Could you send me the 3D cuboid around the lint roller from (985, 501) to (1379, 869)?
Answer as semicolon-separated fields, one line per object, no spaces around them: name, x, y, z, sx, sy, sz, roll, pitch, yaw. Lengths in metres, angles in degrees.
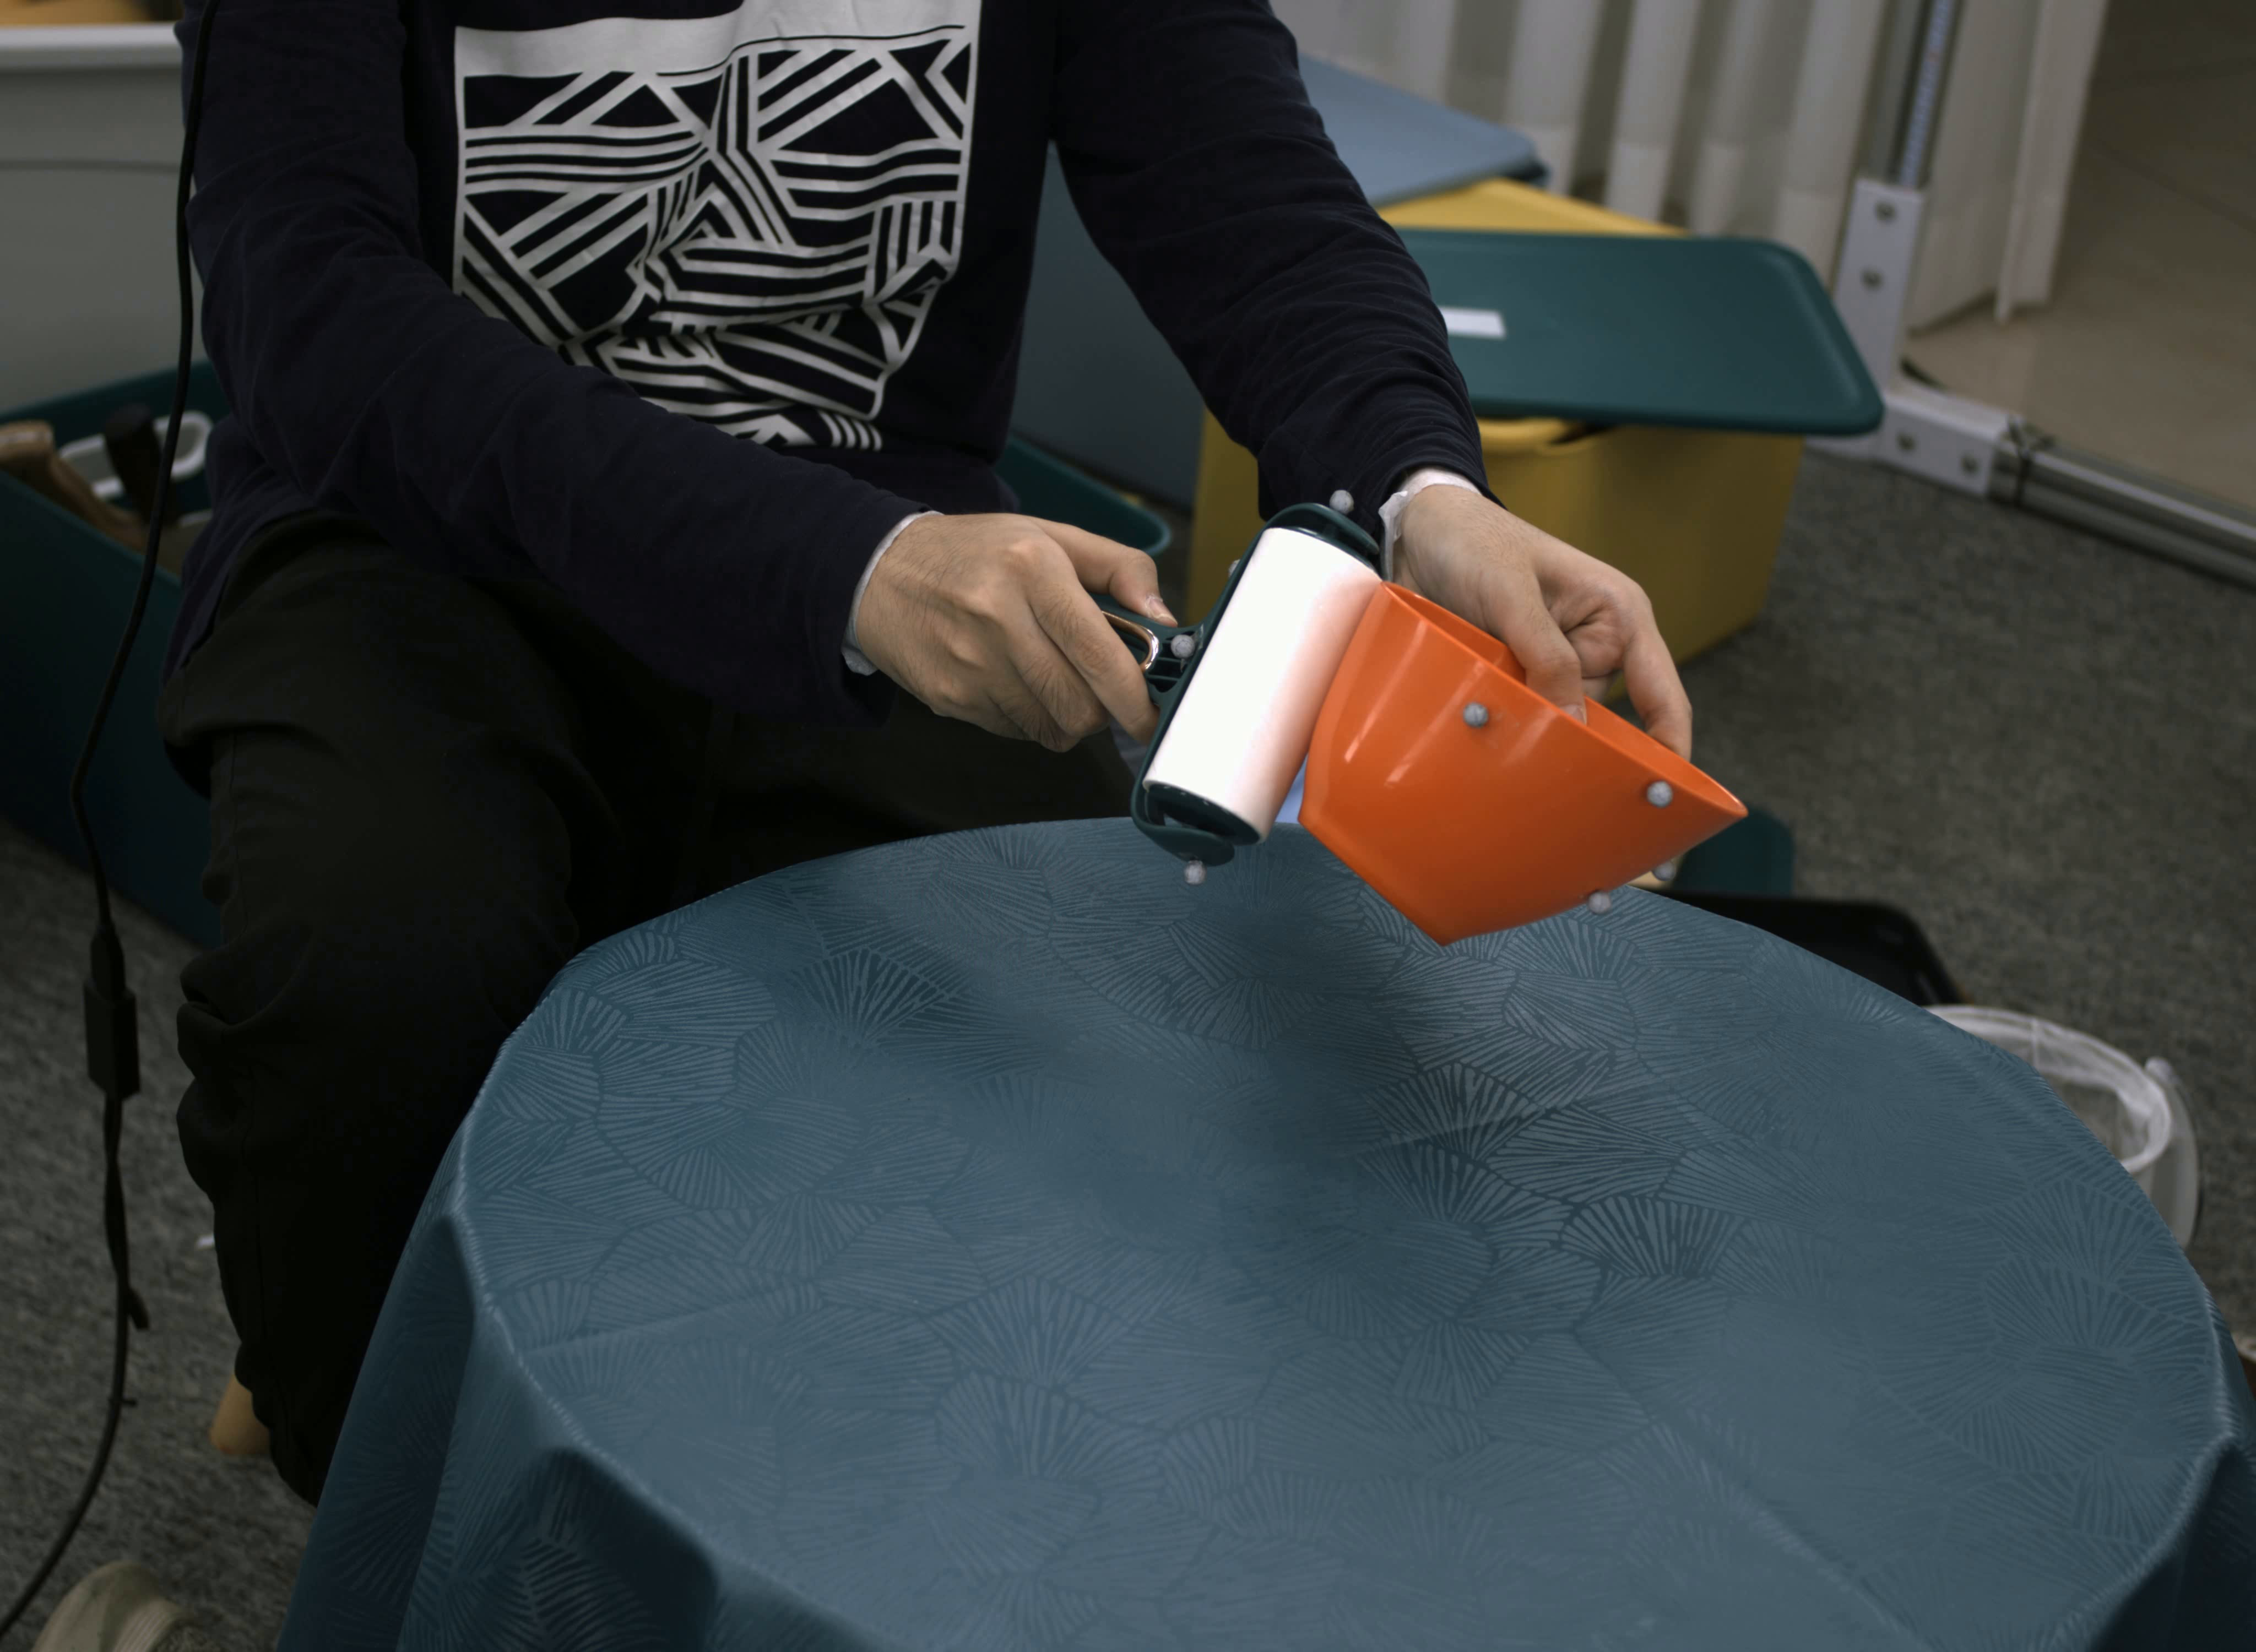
lint roller;0.000;-0.060;1.885;0.181;0.135;0.048;14;-16;45

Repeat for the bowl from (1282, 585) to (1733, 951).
bowl;0.118;-0.011;1.817;0.148;0.104;0.148;40;1;-1
